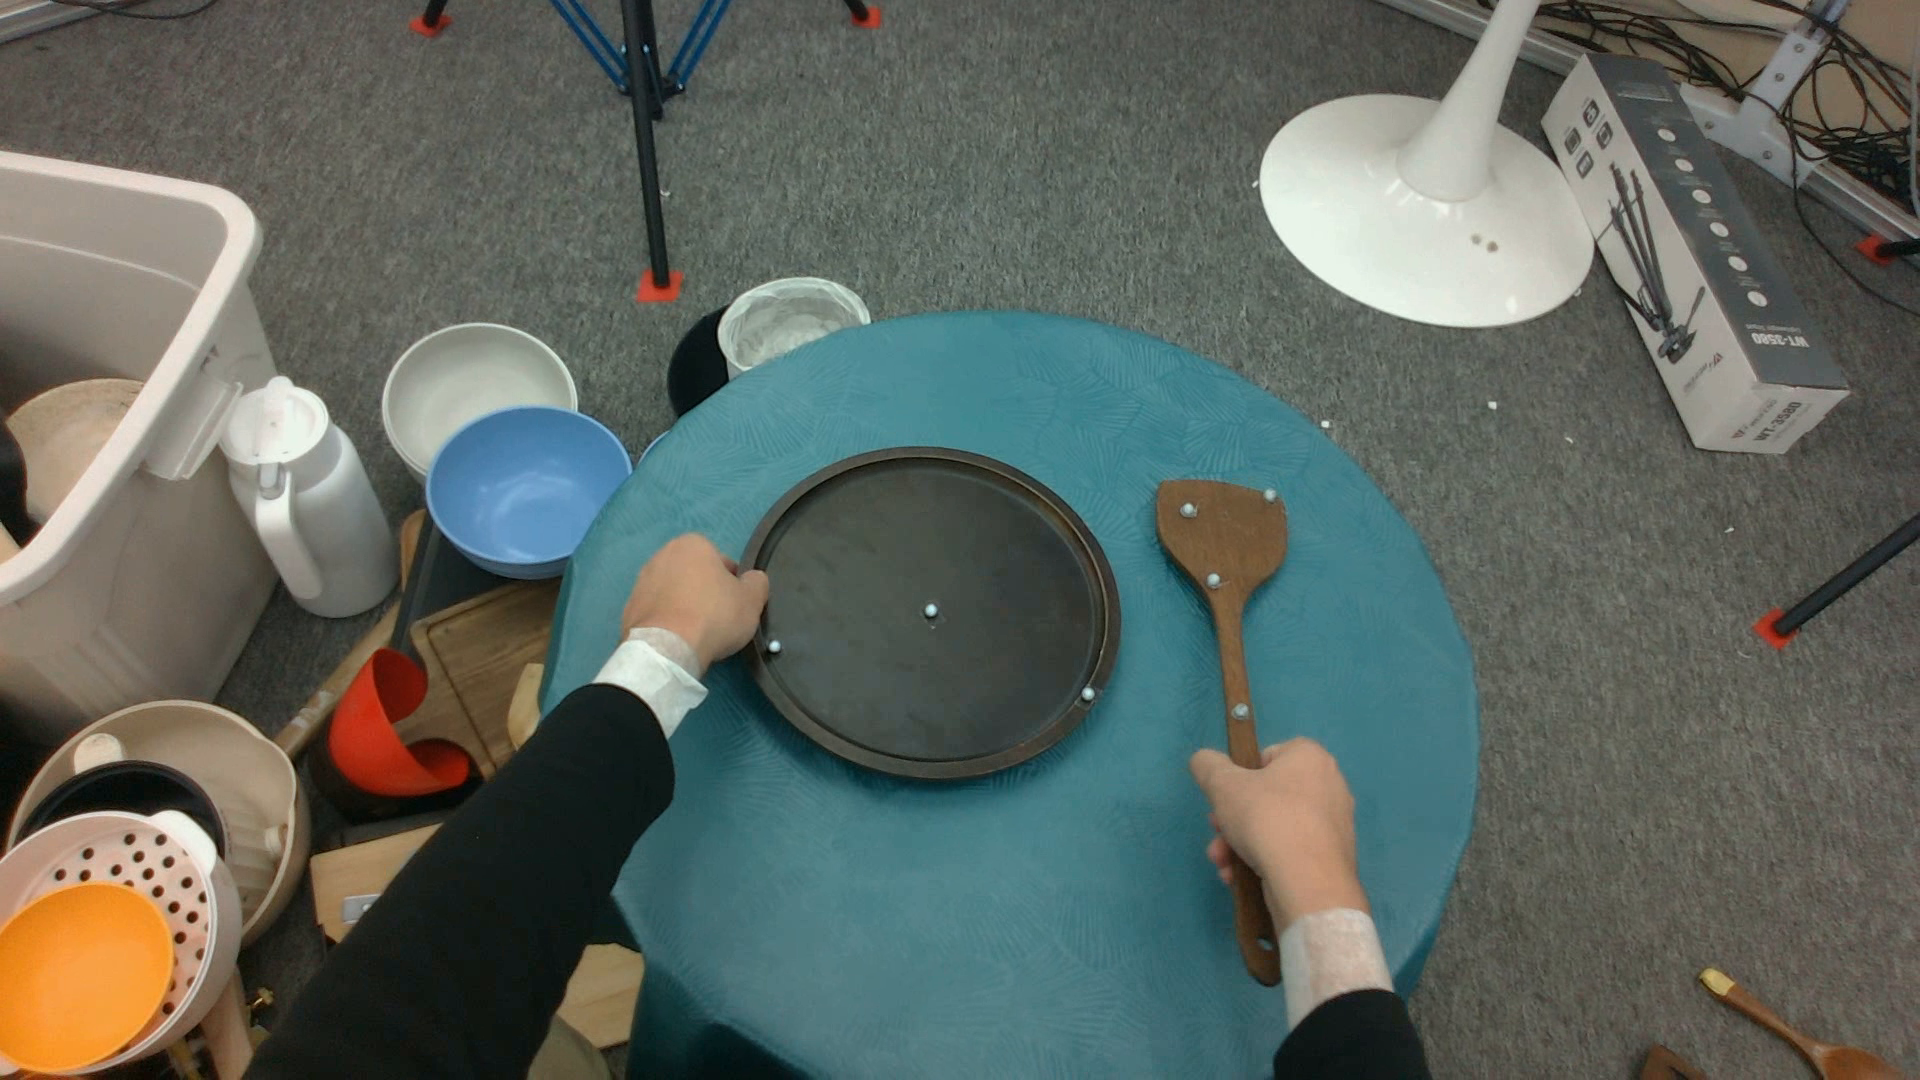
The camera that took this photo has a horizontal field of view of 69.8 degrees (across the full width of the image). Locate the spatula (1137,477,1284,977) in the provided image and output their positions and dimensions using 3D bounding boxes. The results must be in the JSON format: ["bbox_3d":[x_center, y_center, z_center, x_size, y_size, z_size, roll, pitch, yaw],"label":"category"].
[{"bbox_3d":[0.164,0.090,0.851,0.096,0.015,0.388,9,43,-5],"label":"spatula"}]

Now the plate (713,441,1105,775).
[{"bbox_3d":[-0.032,0.038,0.892,0.255,0.029,0.256,6,54,-8],"label":"plate"}]
